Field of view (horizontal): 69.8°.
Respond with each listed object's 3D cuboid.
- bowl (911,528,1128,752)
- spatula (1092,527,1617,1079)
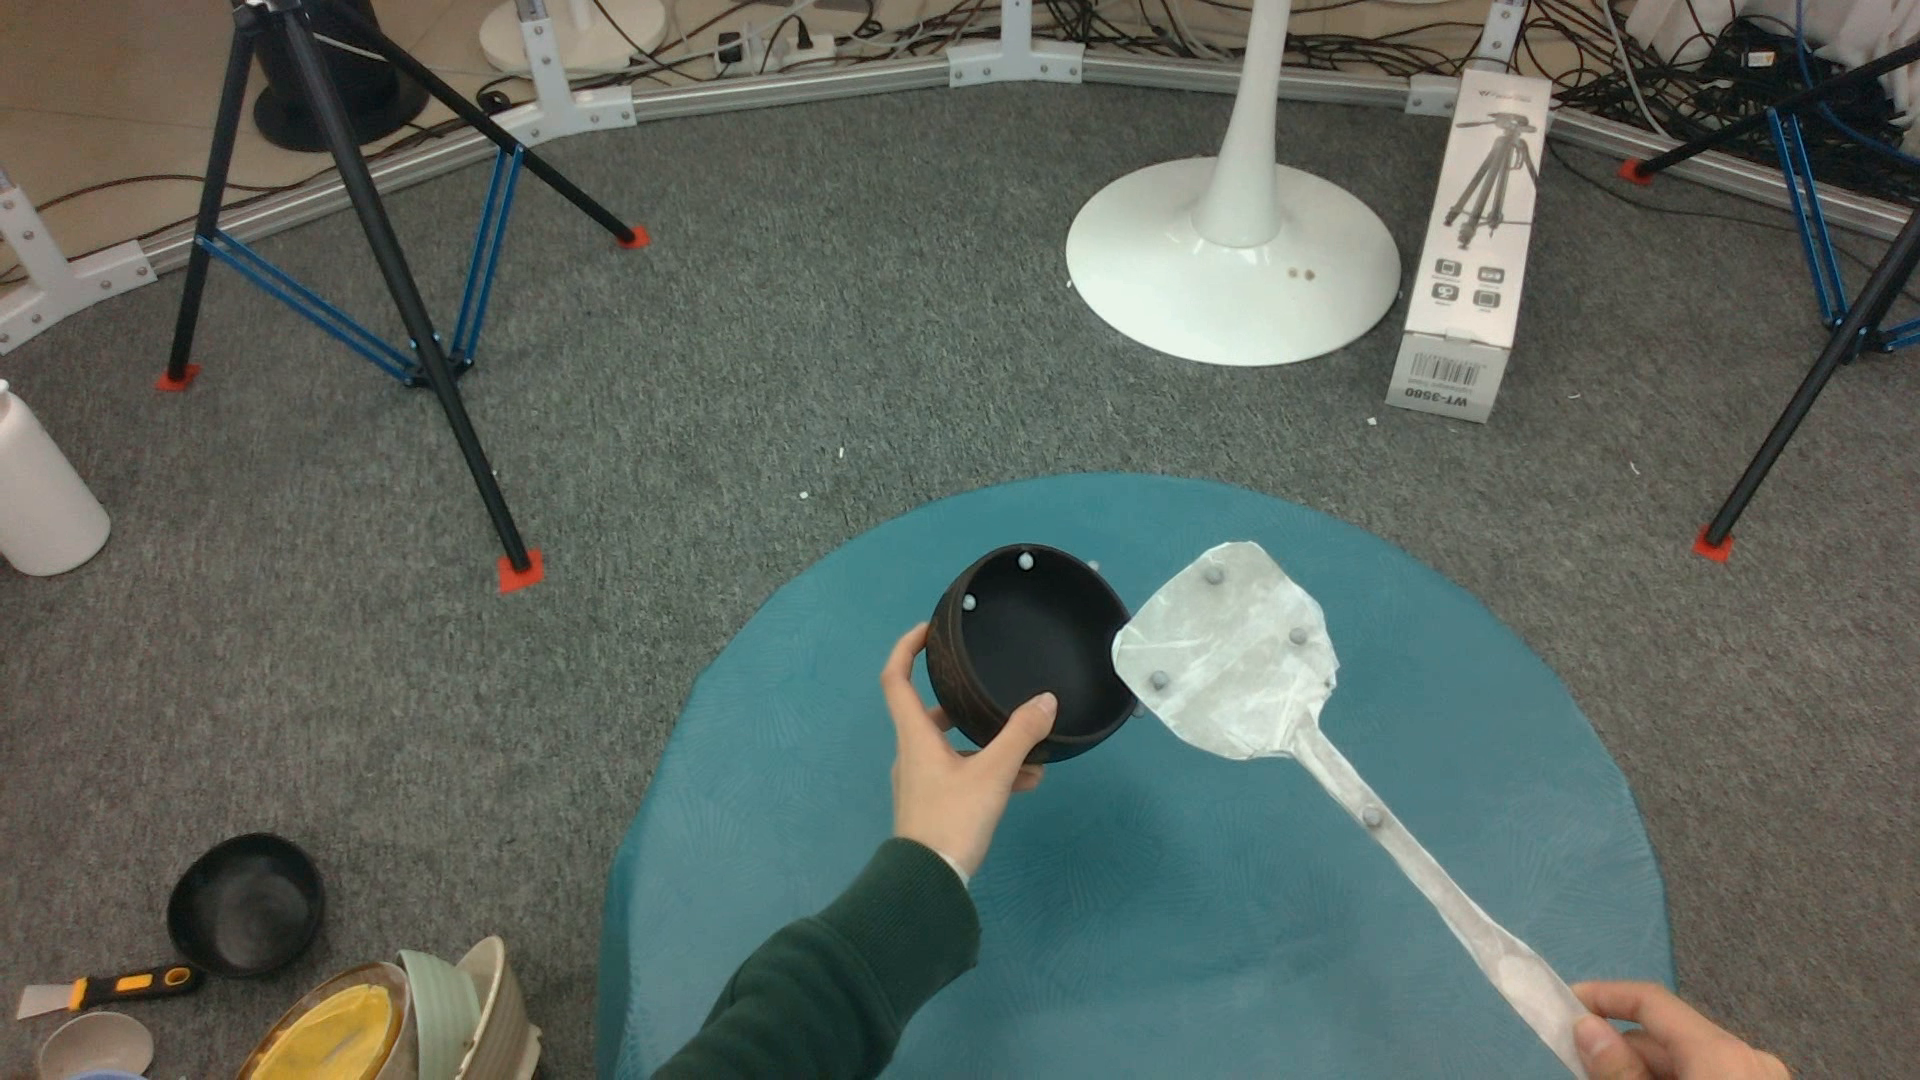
[{"bbox_3d":[0.026,0.059,0.744,0.118,0.069,0.118,13,59,-23],"label":"bowl"},{"bbox_3d":[0.184,0.131,0.600,0.098,0.044,0.365,-39,46,3],"label":"spatula"}]
